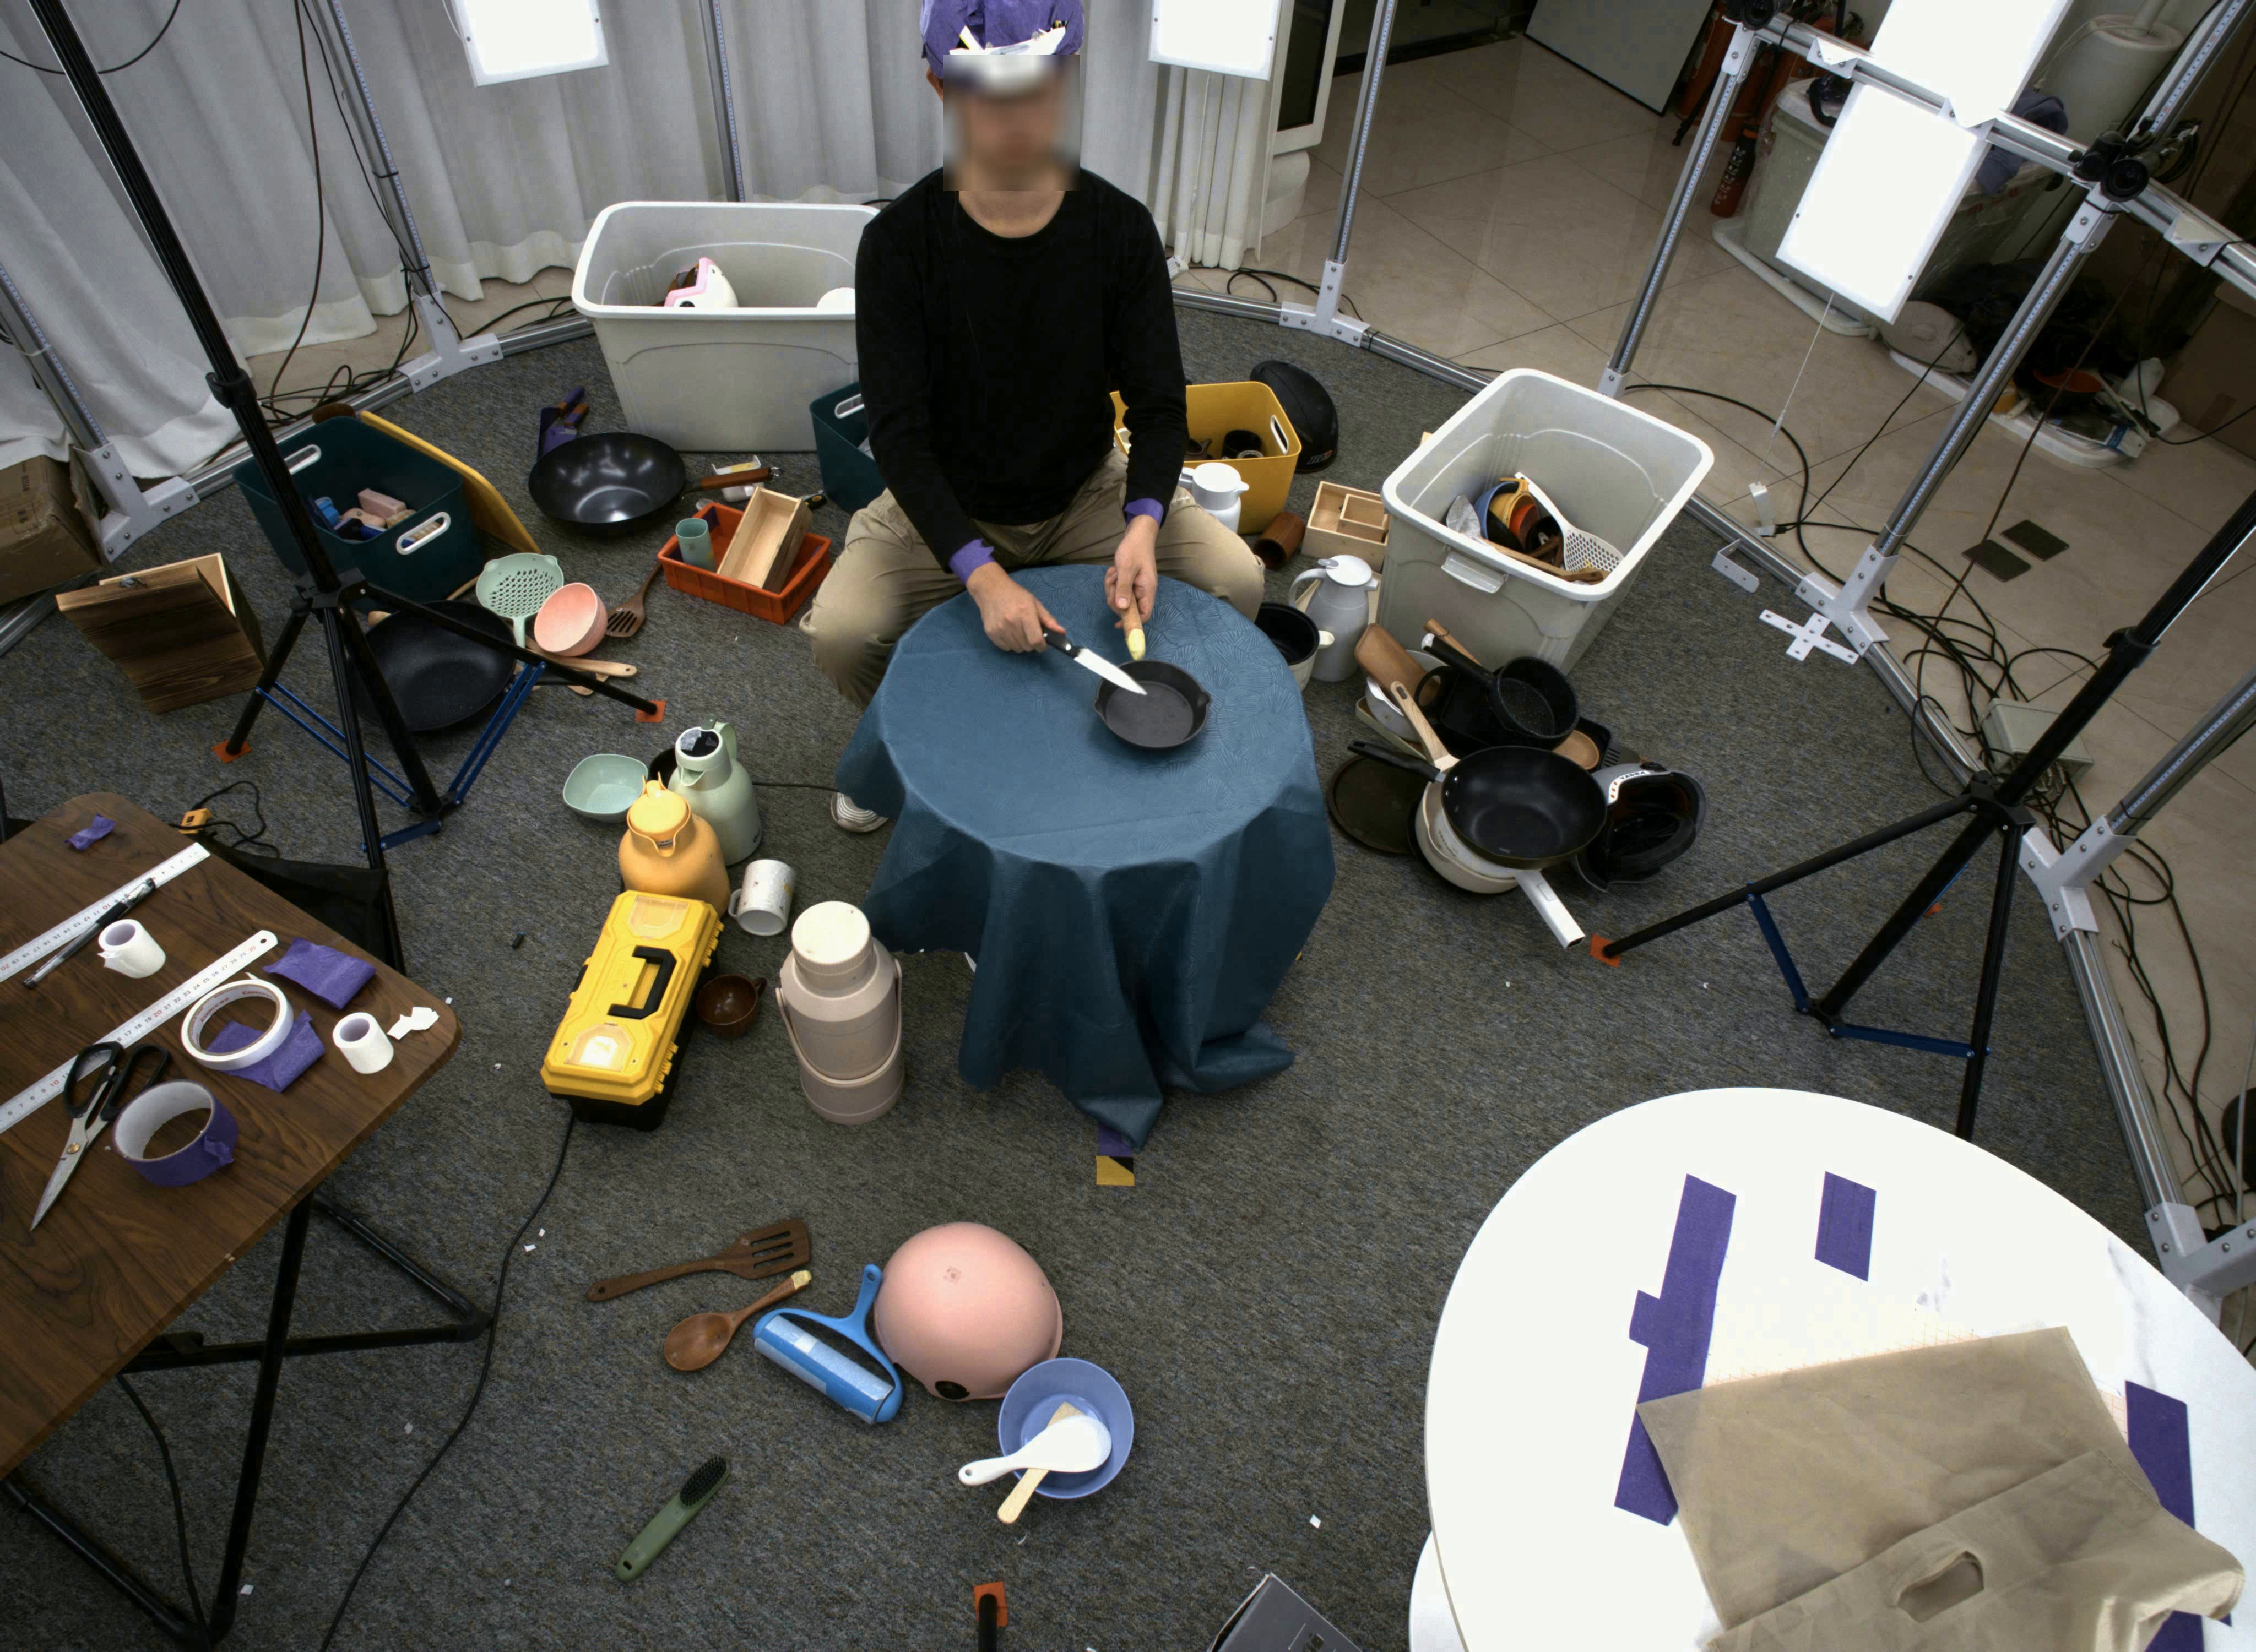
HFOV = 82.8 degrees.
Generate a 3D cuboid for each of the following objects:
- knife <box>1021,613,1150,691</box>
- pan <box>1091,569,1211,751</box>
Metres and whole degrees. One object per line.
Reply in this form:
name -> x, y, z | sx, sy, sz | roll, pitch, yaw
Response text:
knife -> -0.063, -0.242, 1.813 | 0.241, 0.016, 0.024 | 33, 78, 26
pan -> 0.019, -0.236, 1.826 | 0.168, 0.048, 0.332 | -3, 54, -10
